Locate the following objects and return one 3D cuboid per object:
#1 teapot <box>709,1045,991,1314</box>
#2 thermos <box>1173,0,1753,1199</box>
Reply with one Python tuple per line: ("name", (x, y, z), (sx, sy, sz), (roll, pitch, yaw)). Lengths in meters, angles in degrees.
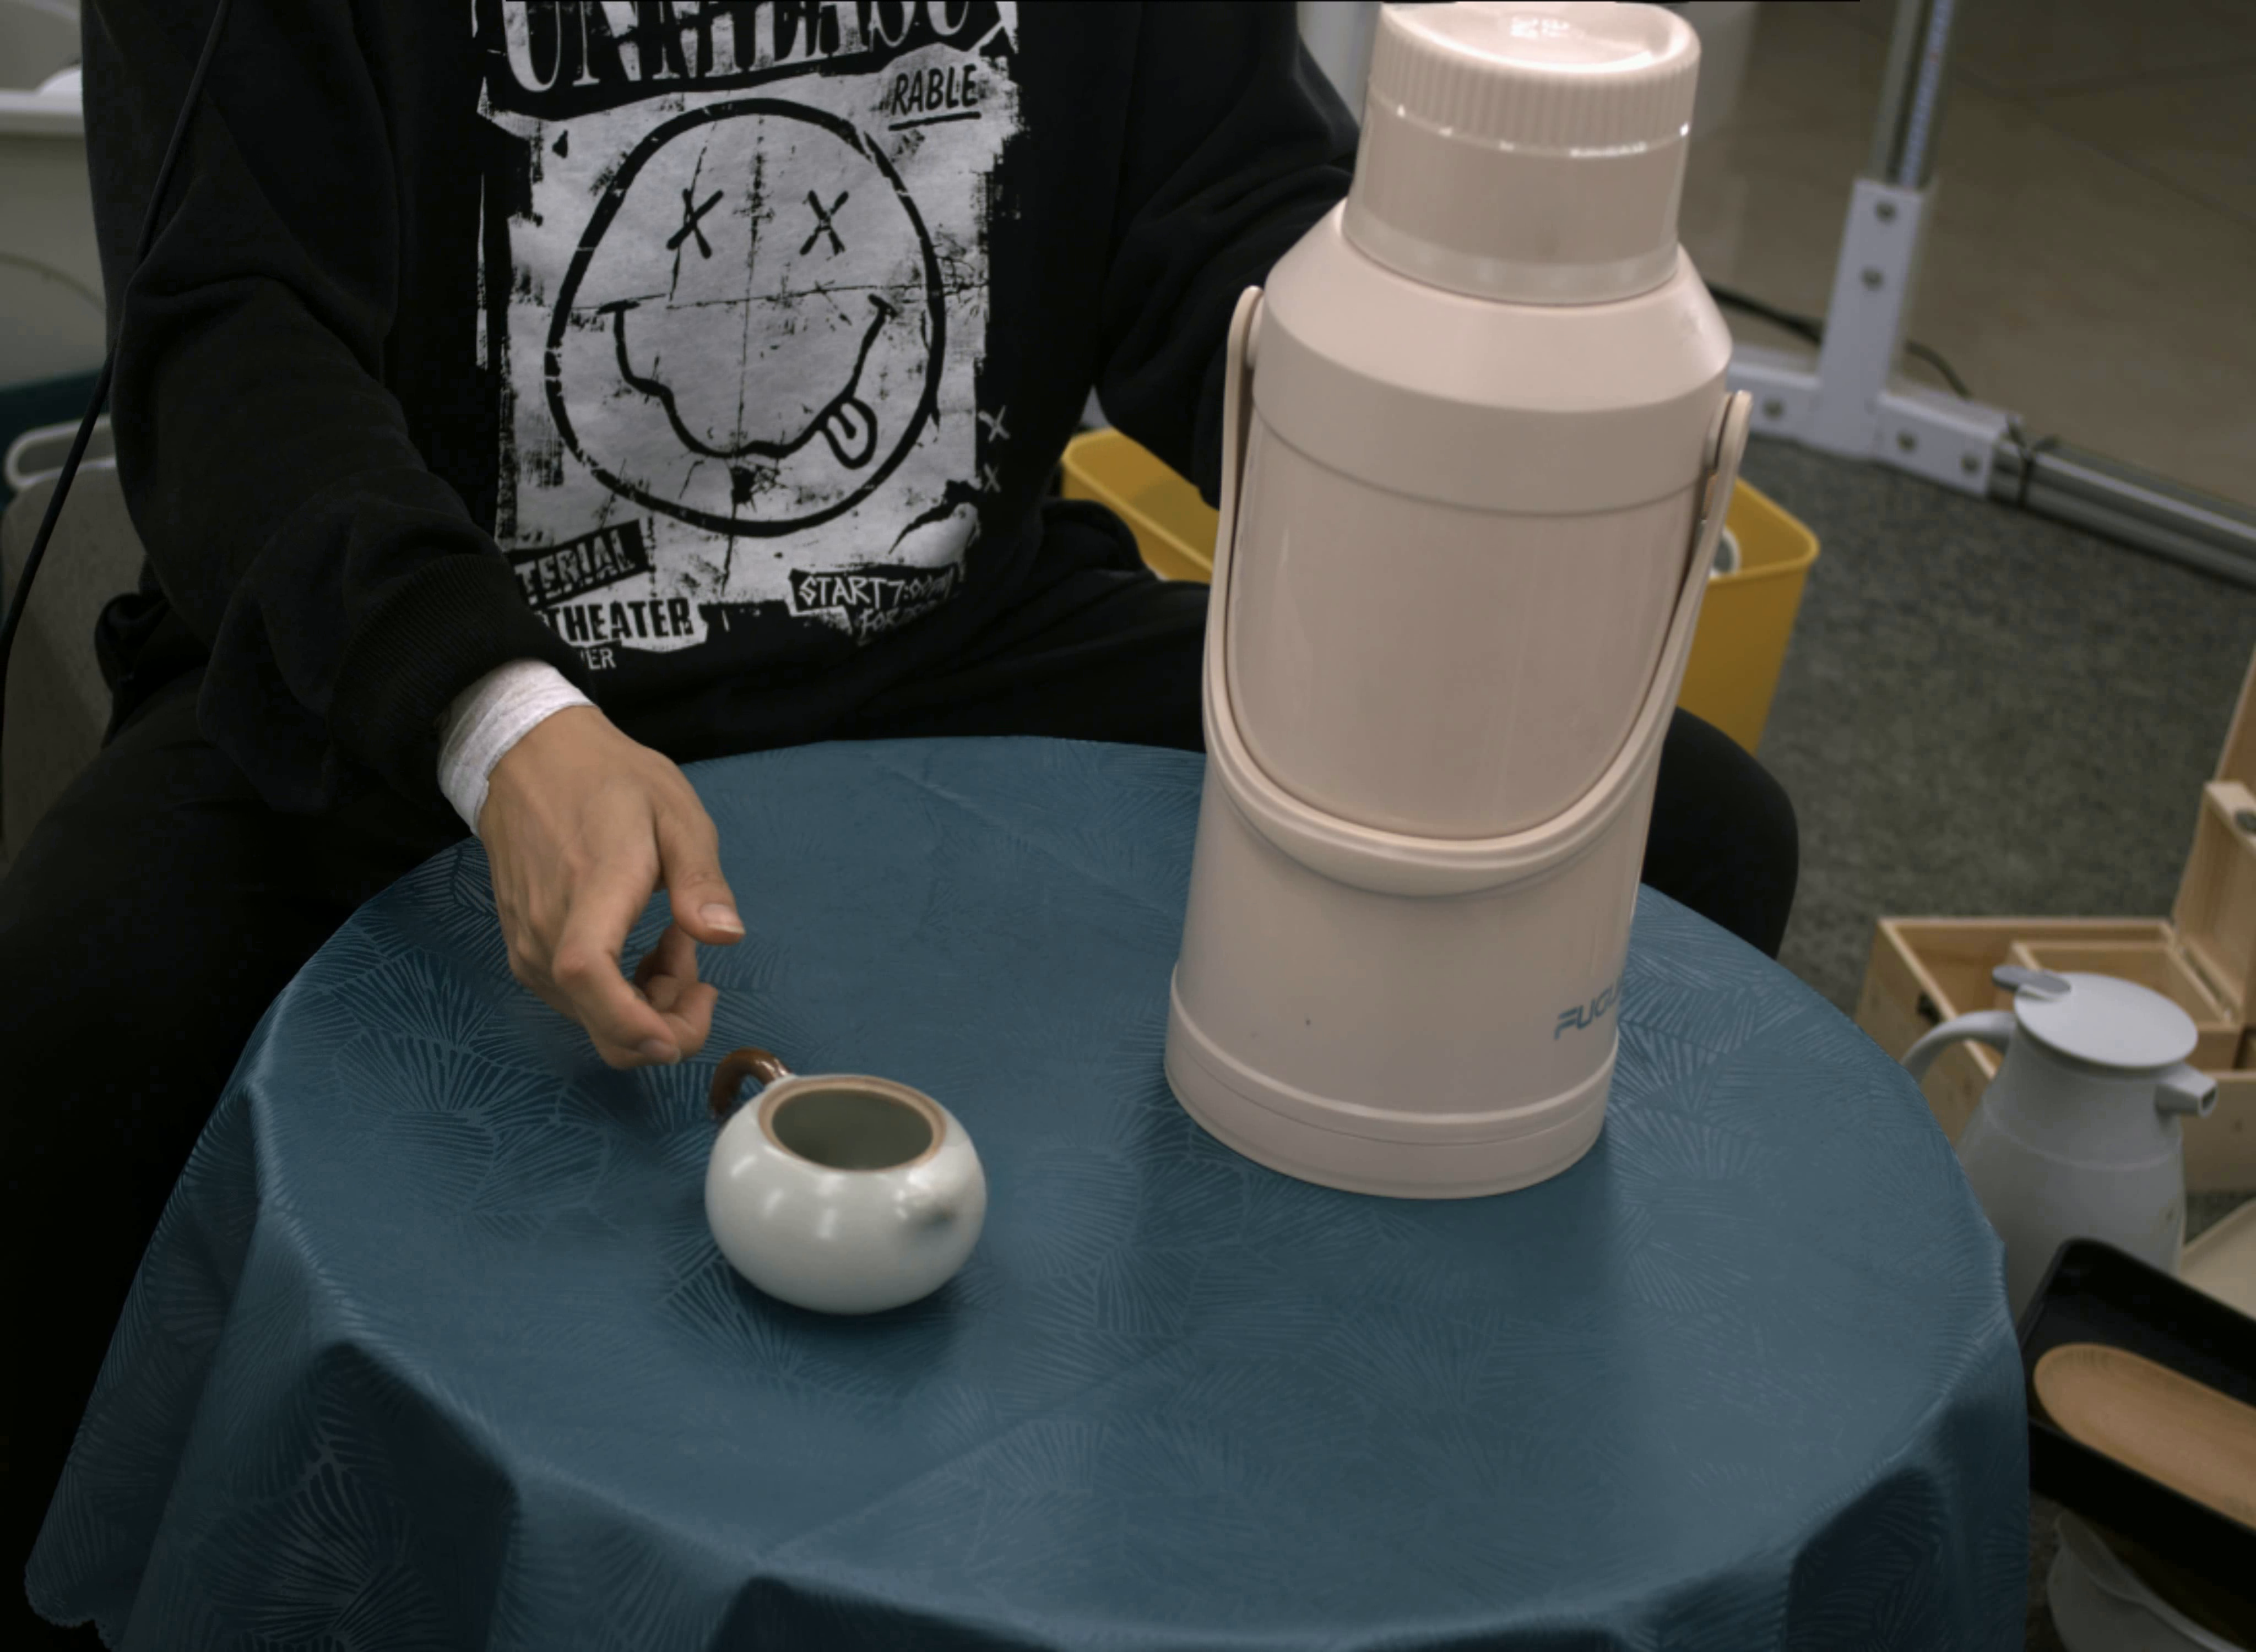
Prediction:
("teapot", (-0.097, 0.115, 1.735), (0.091, 0.059, 0.129), (-21, 39, -35))
("thermos", (0.118, -0.089, 1.813), (0.175, 0.405, 0.207), (11, 27, 12))
